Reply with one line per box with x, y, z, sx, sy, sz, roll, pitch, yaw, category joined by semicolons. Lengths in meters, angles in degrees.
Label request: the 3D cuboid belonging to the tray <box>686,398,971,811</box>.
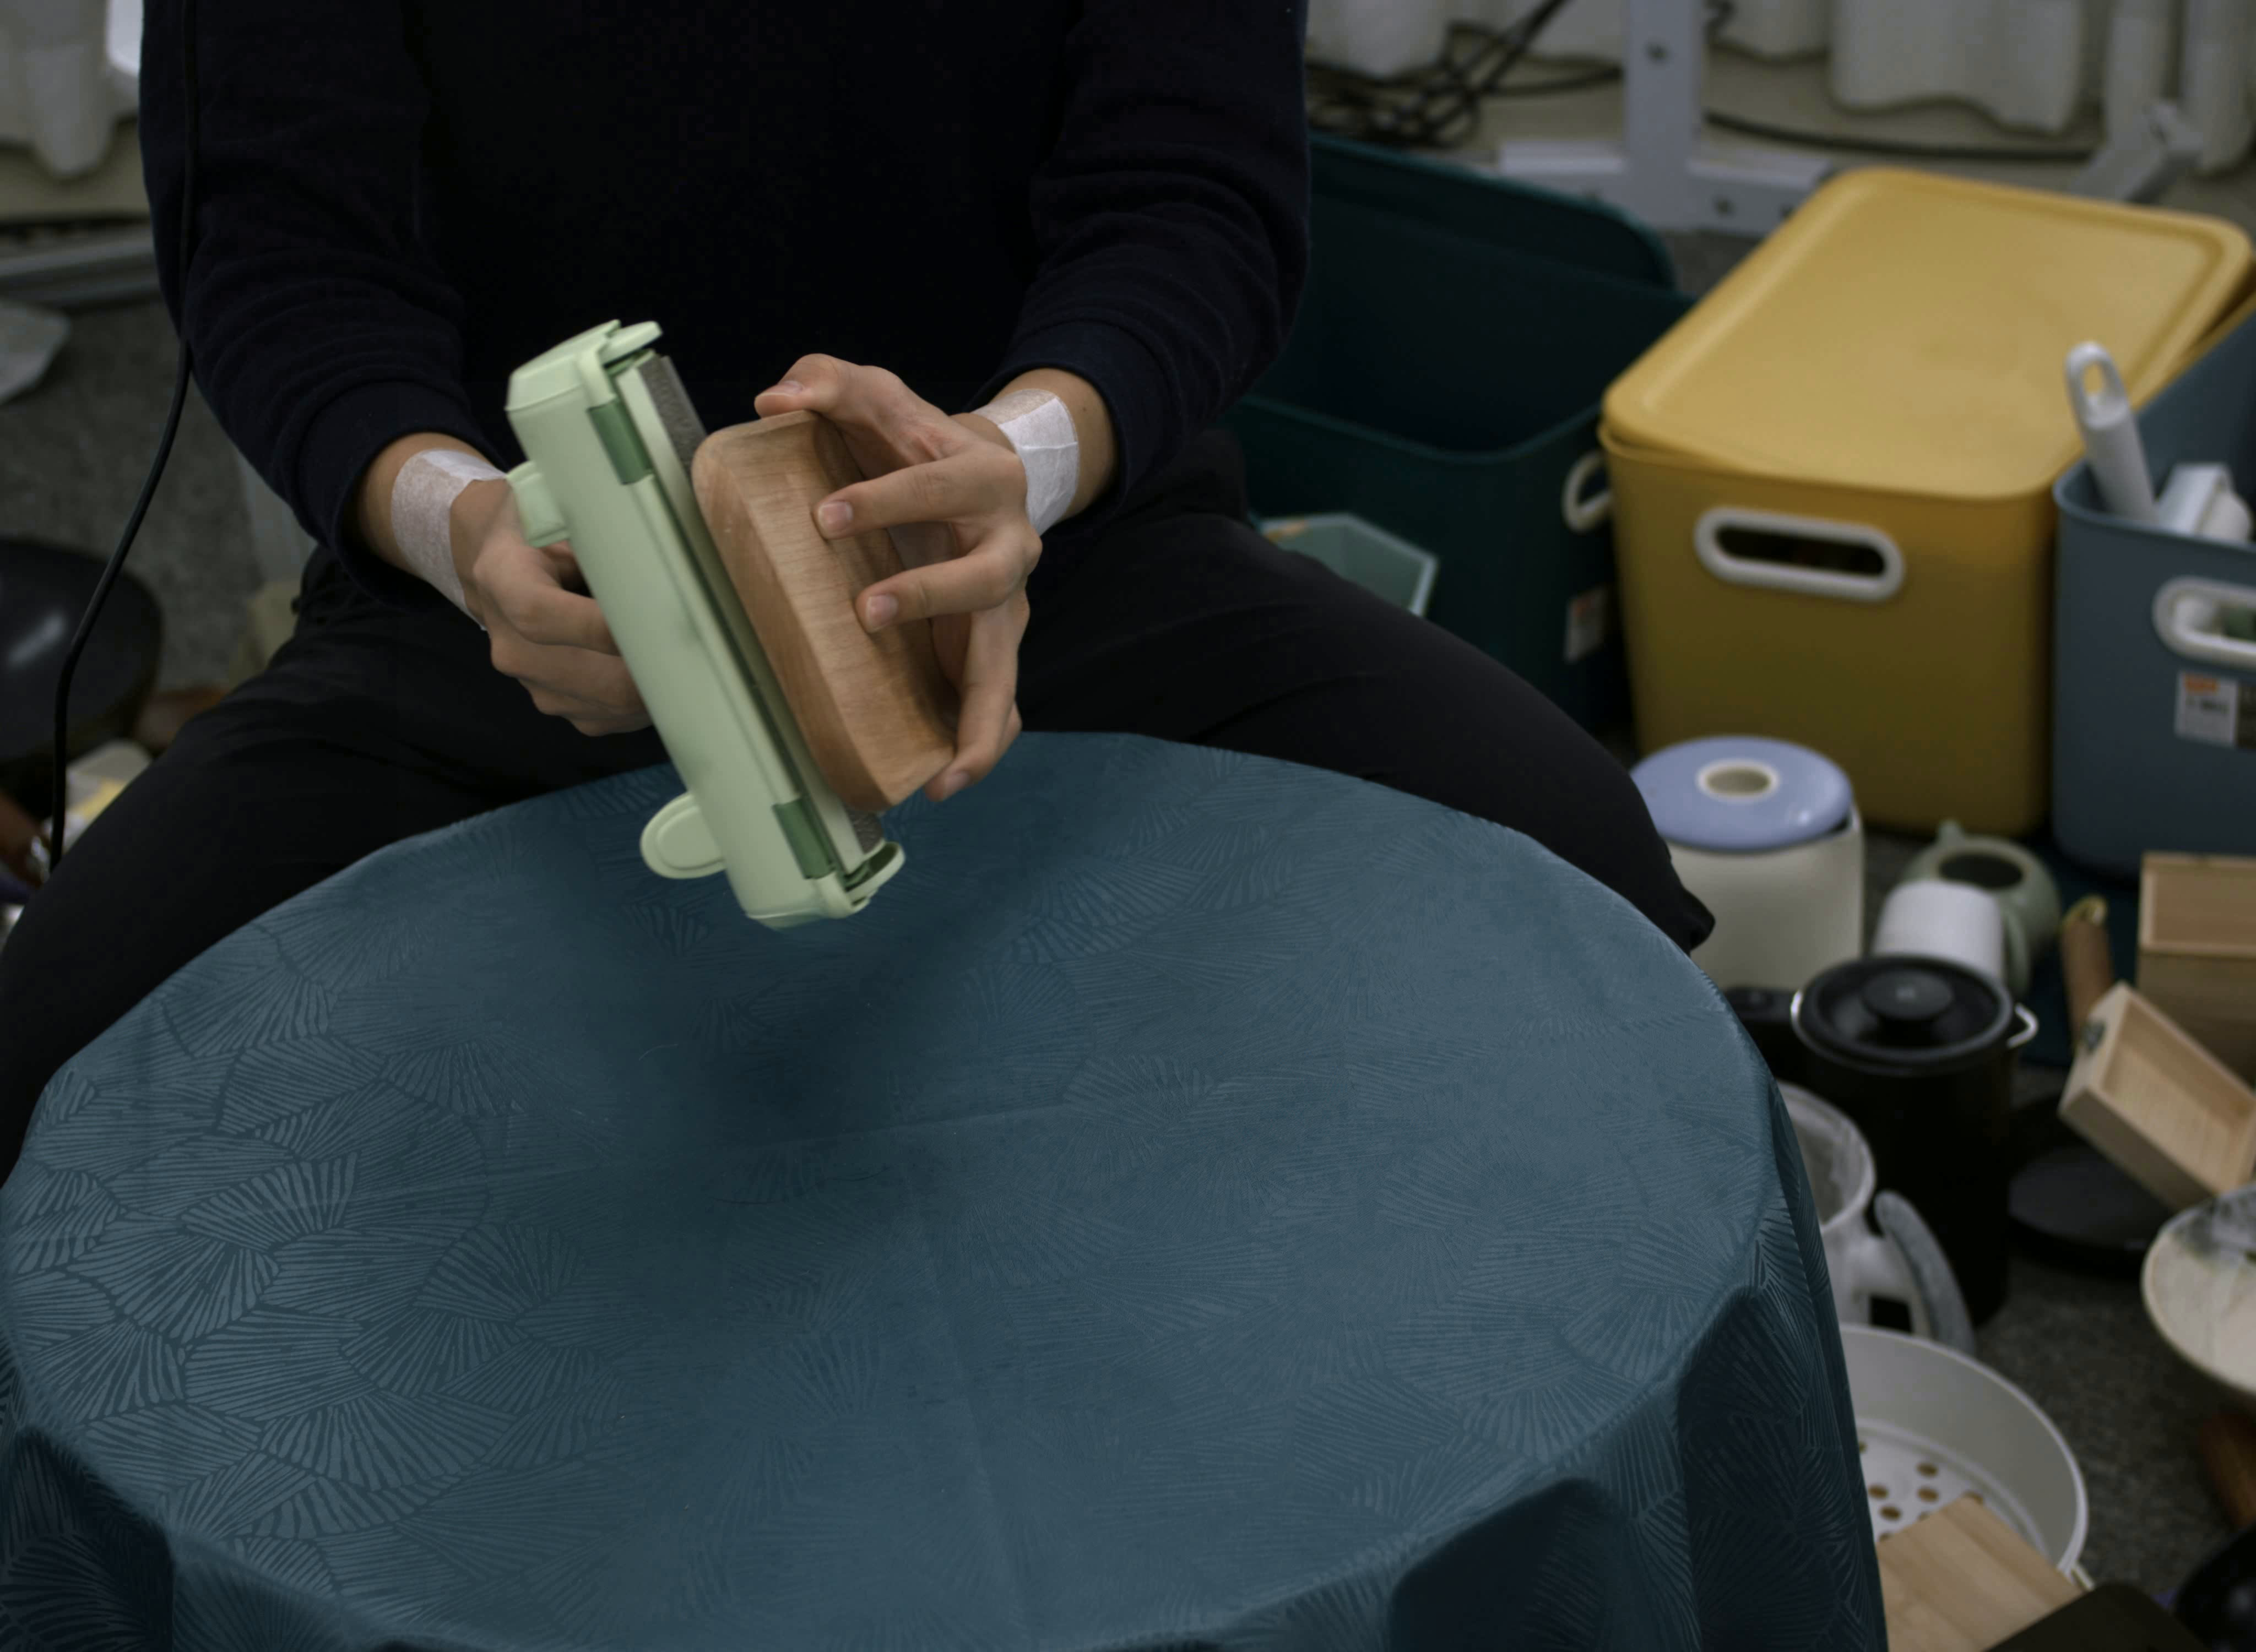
-0.095;-0.073;1.809;0.023;0.131;0.251;-21;3;6;tray

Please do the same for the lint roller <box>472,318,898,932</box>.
-0.163;-0.059;1.804;0.083;0.198;0.182;-29;11;-23;lint roller
